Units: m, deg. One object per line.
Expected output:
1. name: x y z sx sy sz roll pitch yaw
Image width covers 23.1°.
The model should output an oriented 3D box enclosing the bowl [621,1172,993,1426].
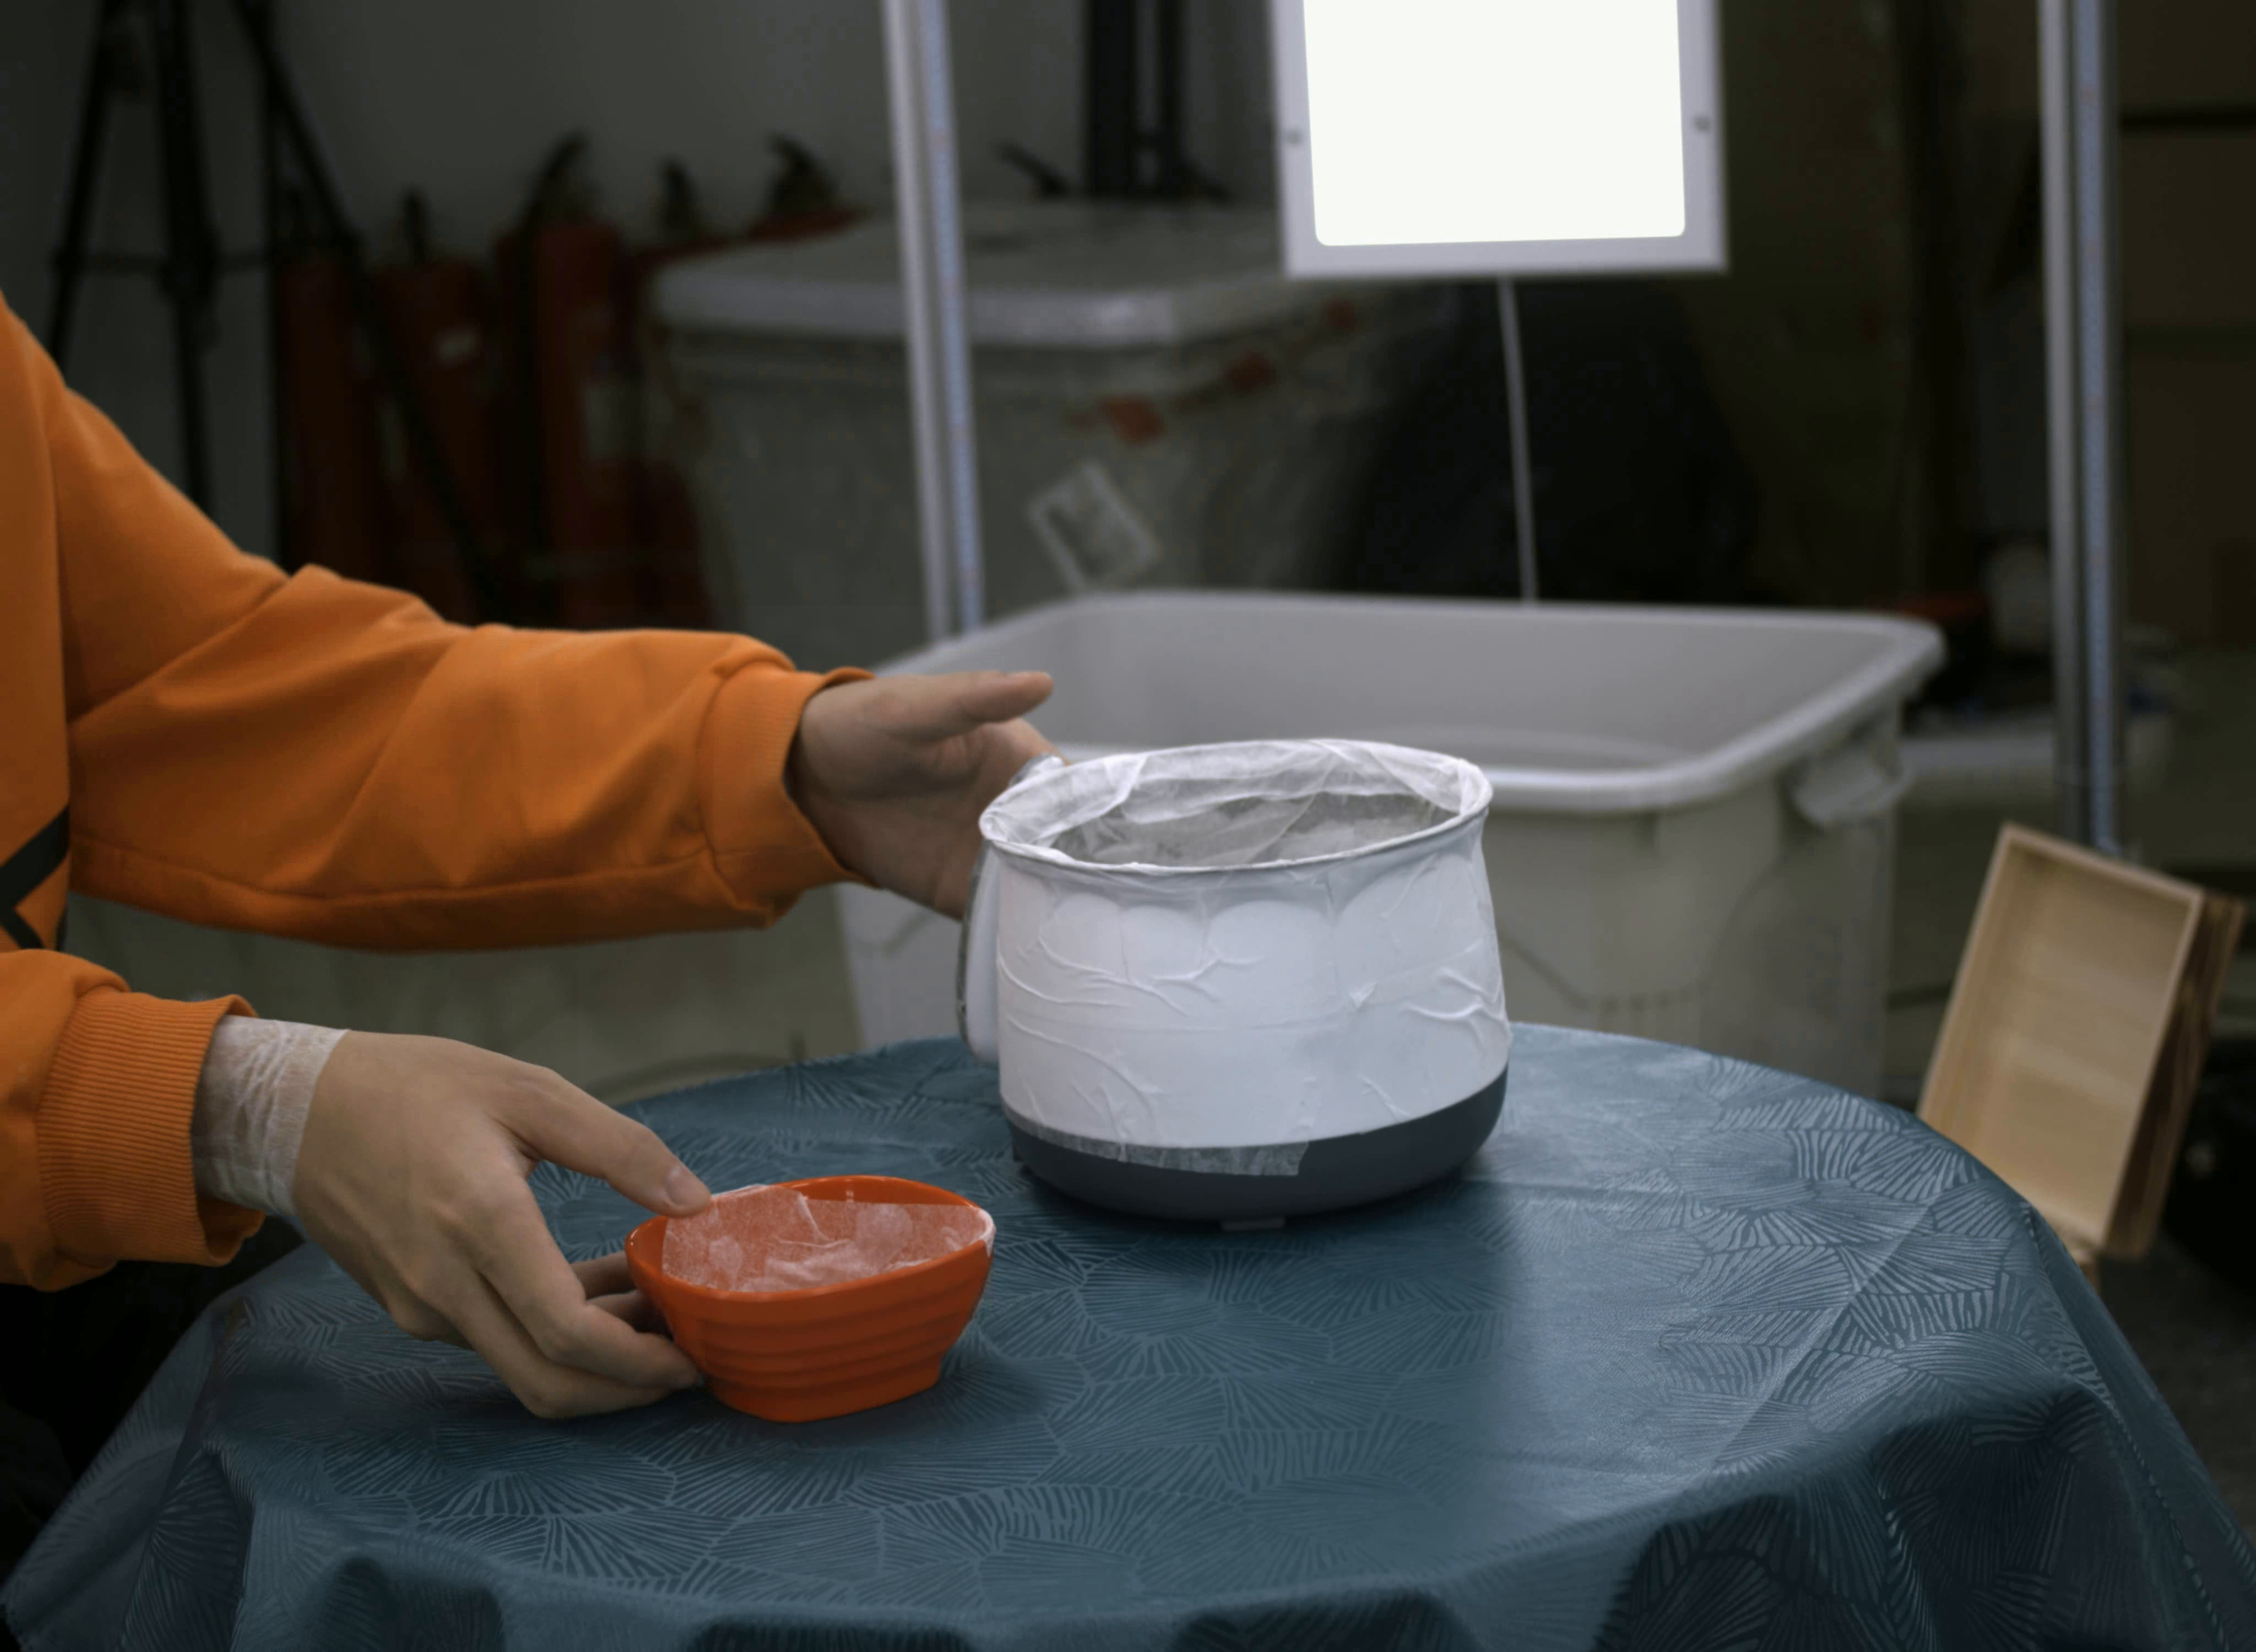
1. bowl: -0.099 0.150 1.729 0.118 0.051 0.119 -5 15 0

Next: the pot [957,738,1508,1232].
1. pot: 0.023 0.049 1.915 0.174 0.137 0.239 -16 18 -40
